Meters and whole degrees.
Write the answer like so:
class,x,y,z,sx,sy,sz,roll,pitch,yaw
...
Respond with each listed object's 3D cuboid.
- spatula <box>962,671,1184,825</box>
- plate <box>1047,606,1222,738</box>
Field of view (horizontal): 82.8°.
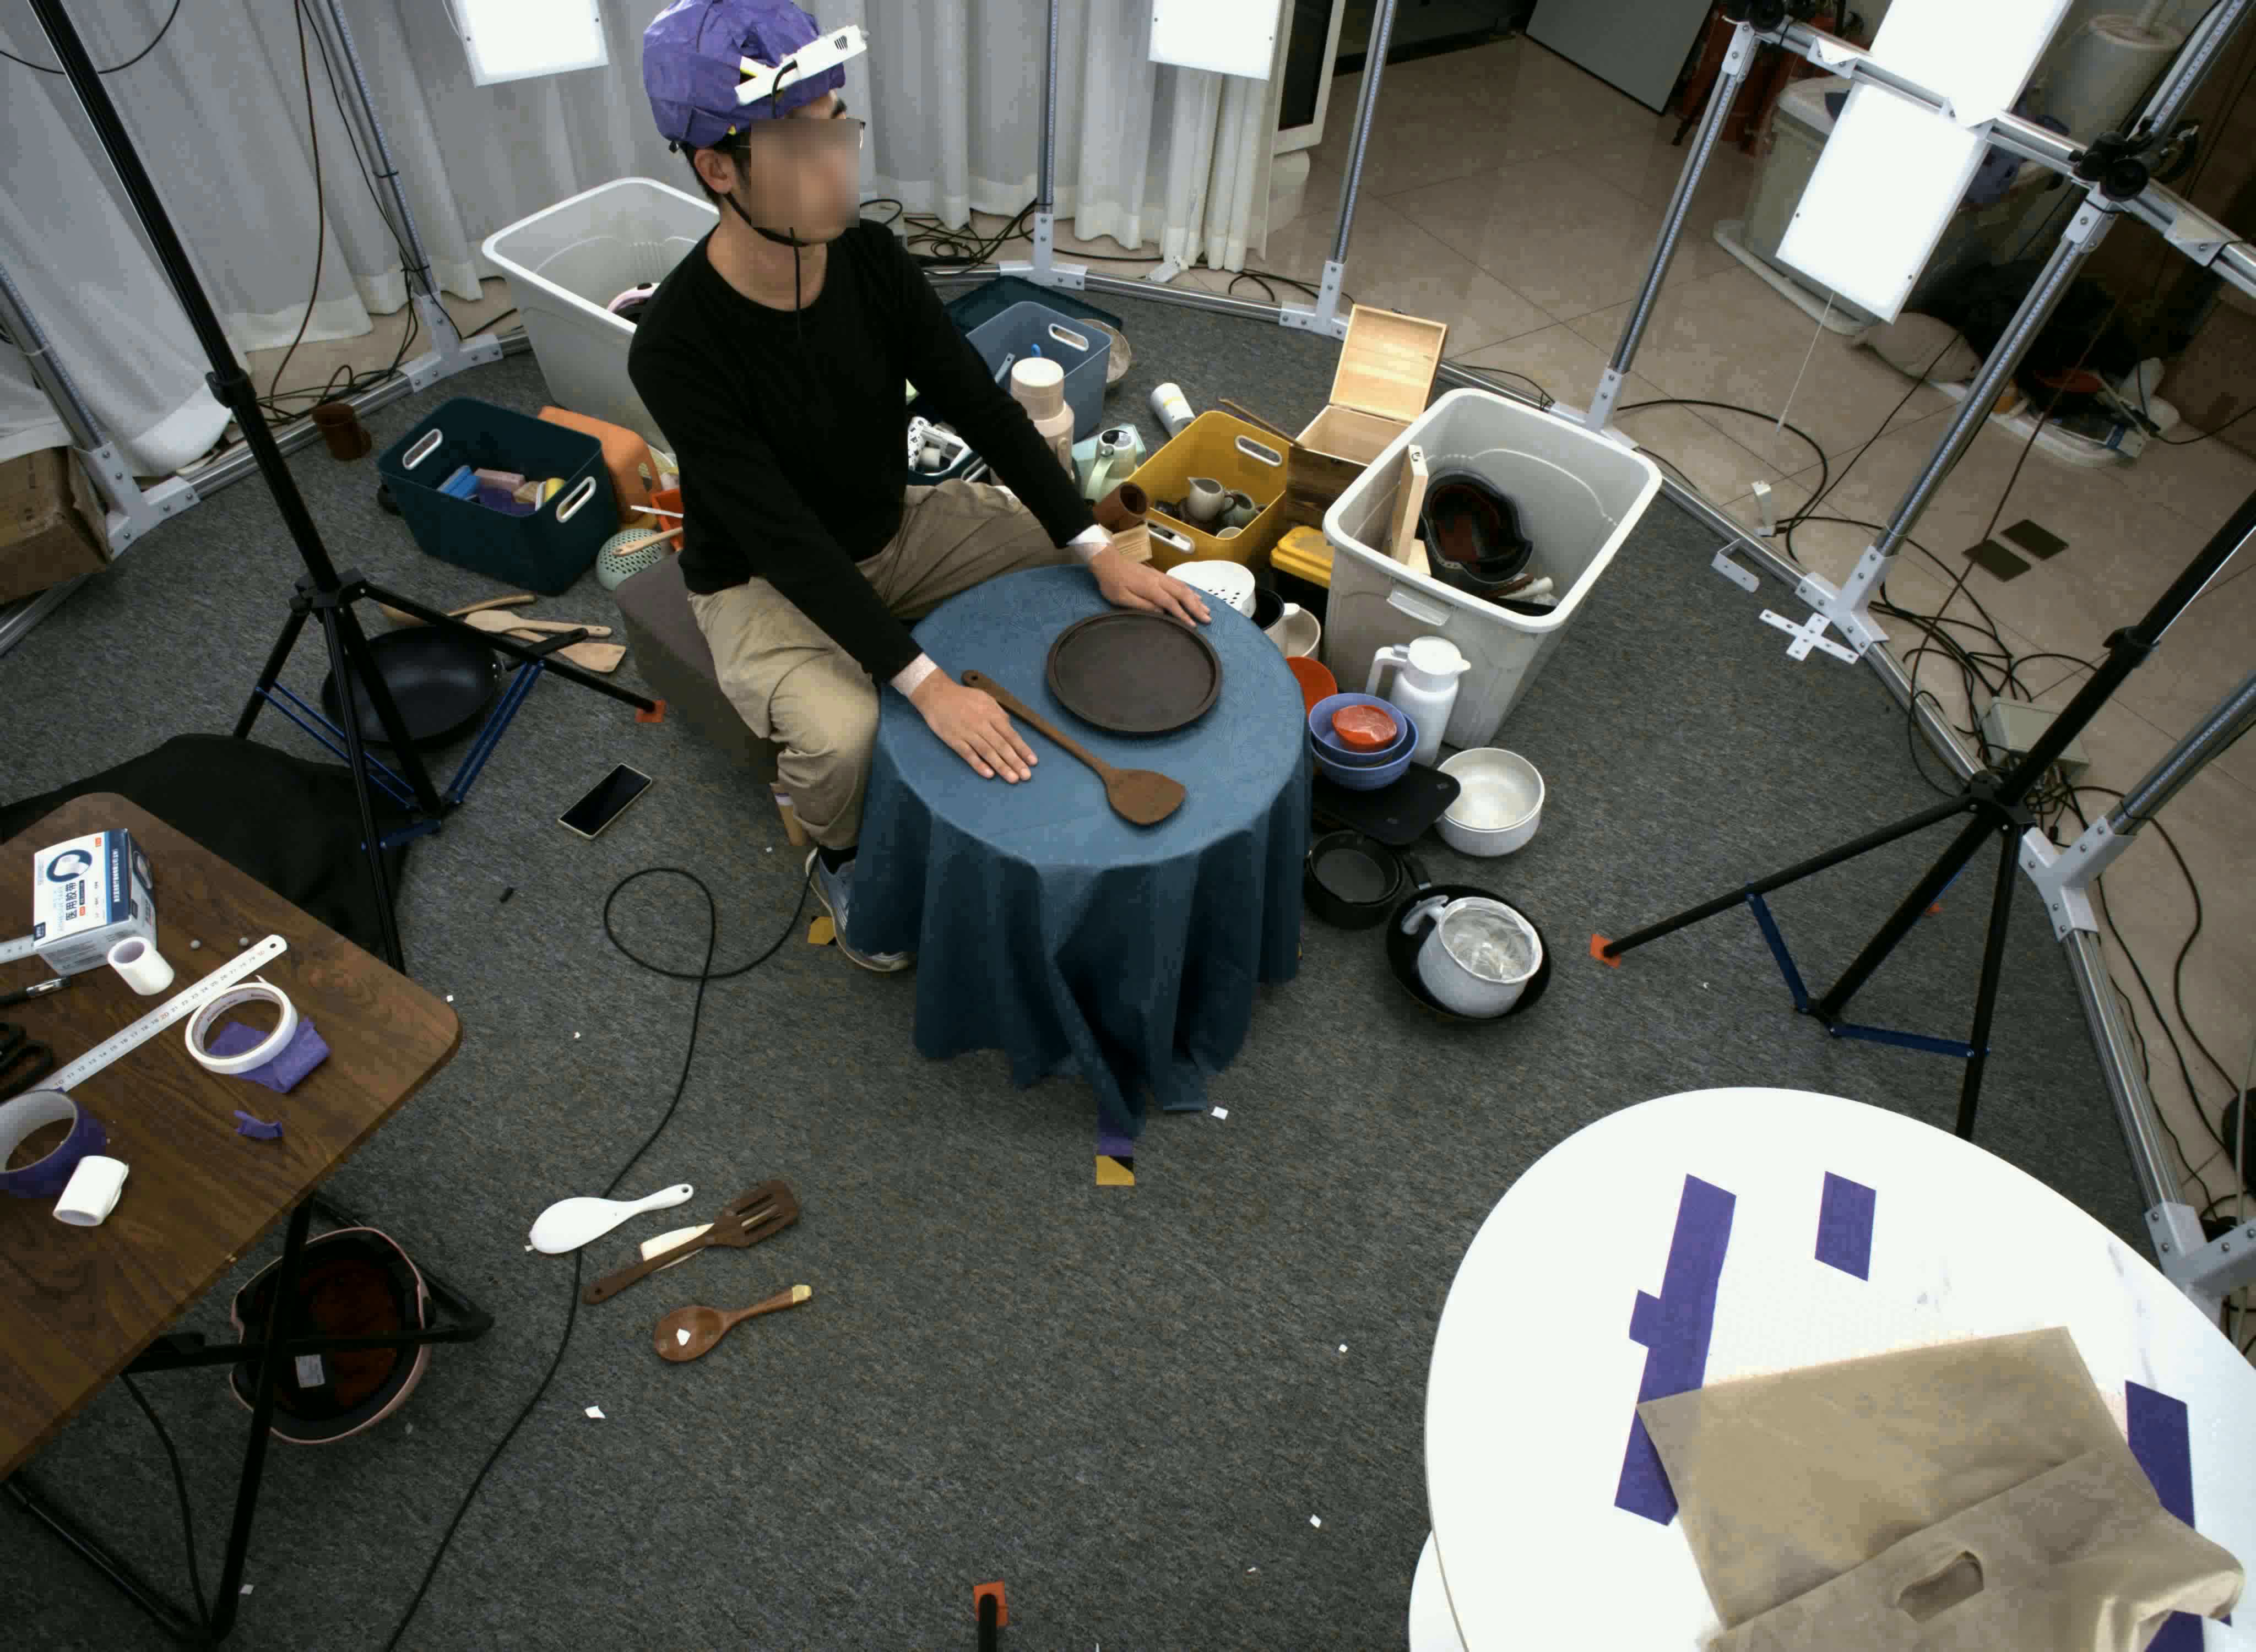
class,x,y,z,sx,sy,sz,roll,pitch,yaw
spatula,-0.089,-0.118,1.756,0.391,0.015,0.097,35,55,24
plate,0.009,-0.220,1.846,0.254,0.028,0.261,1,50,-1
